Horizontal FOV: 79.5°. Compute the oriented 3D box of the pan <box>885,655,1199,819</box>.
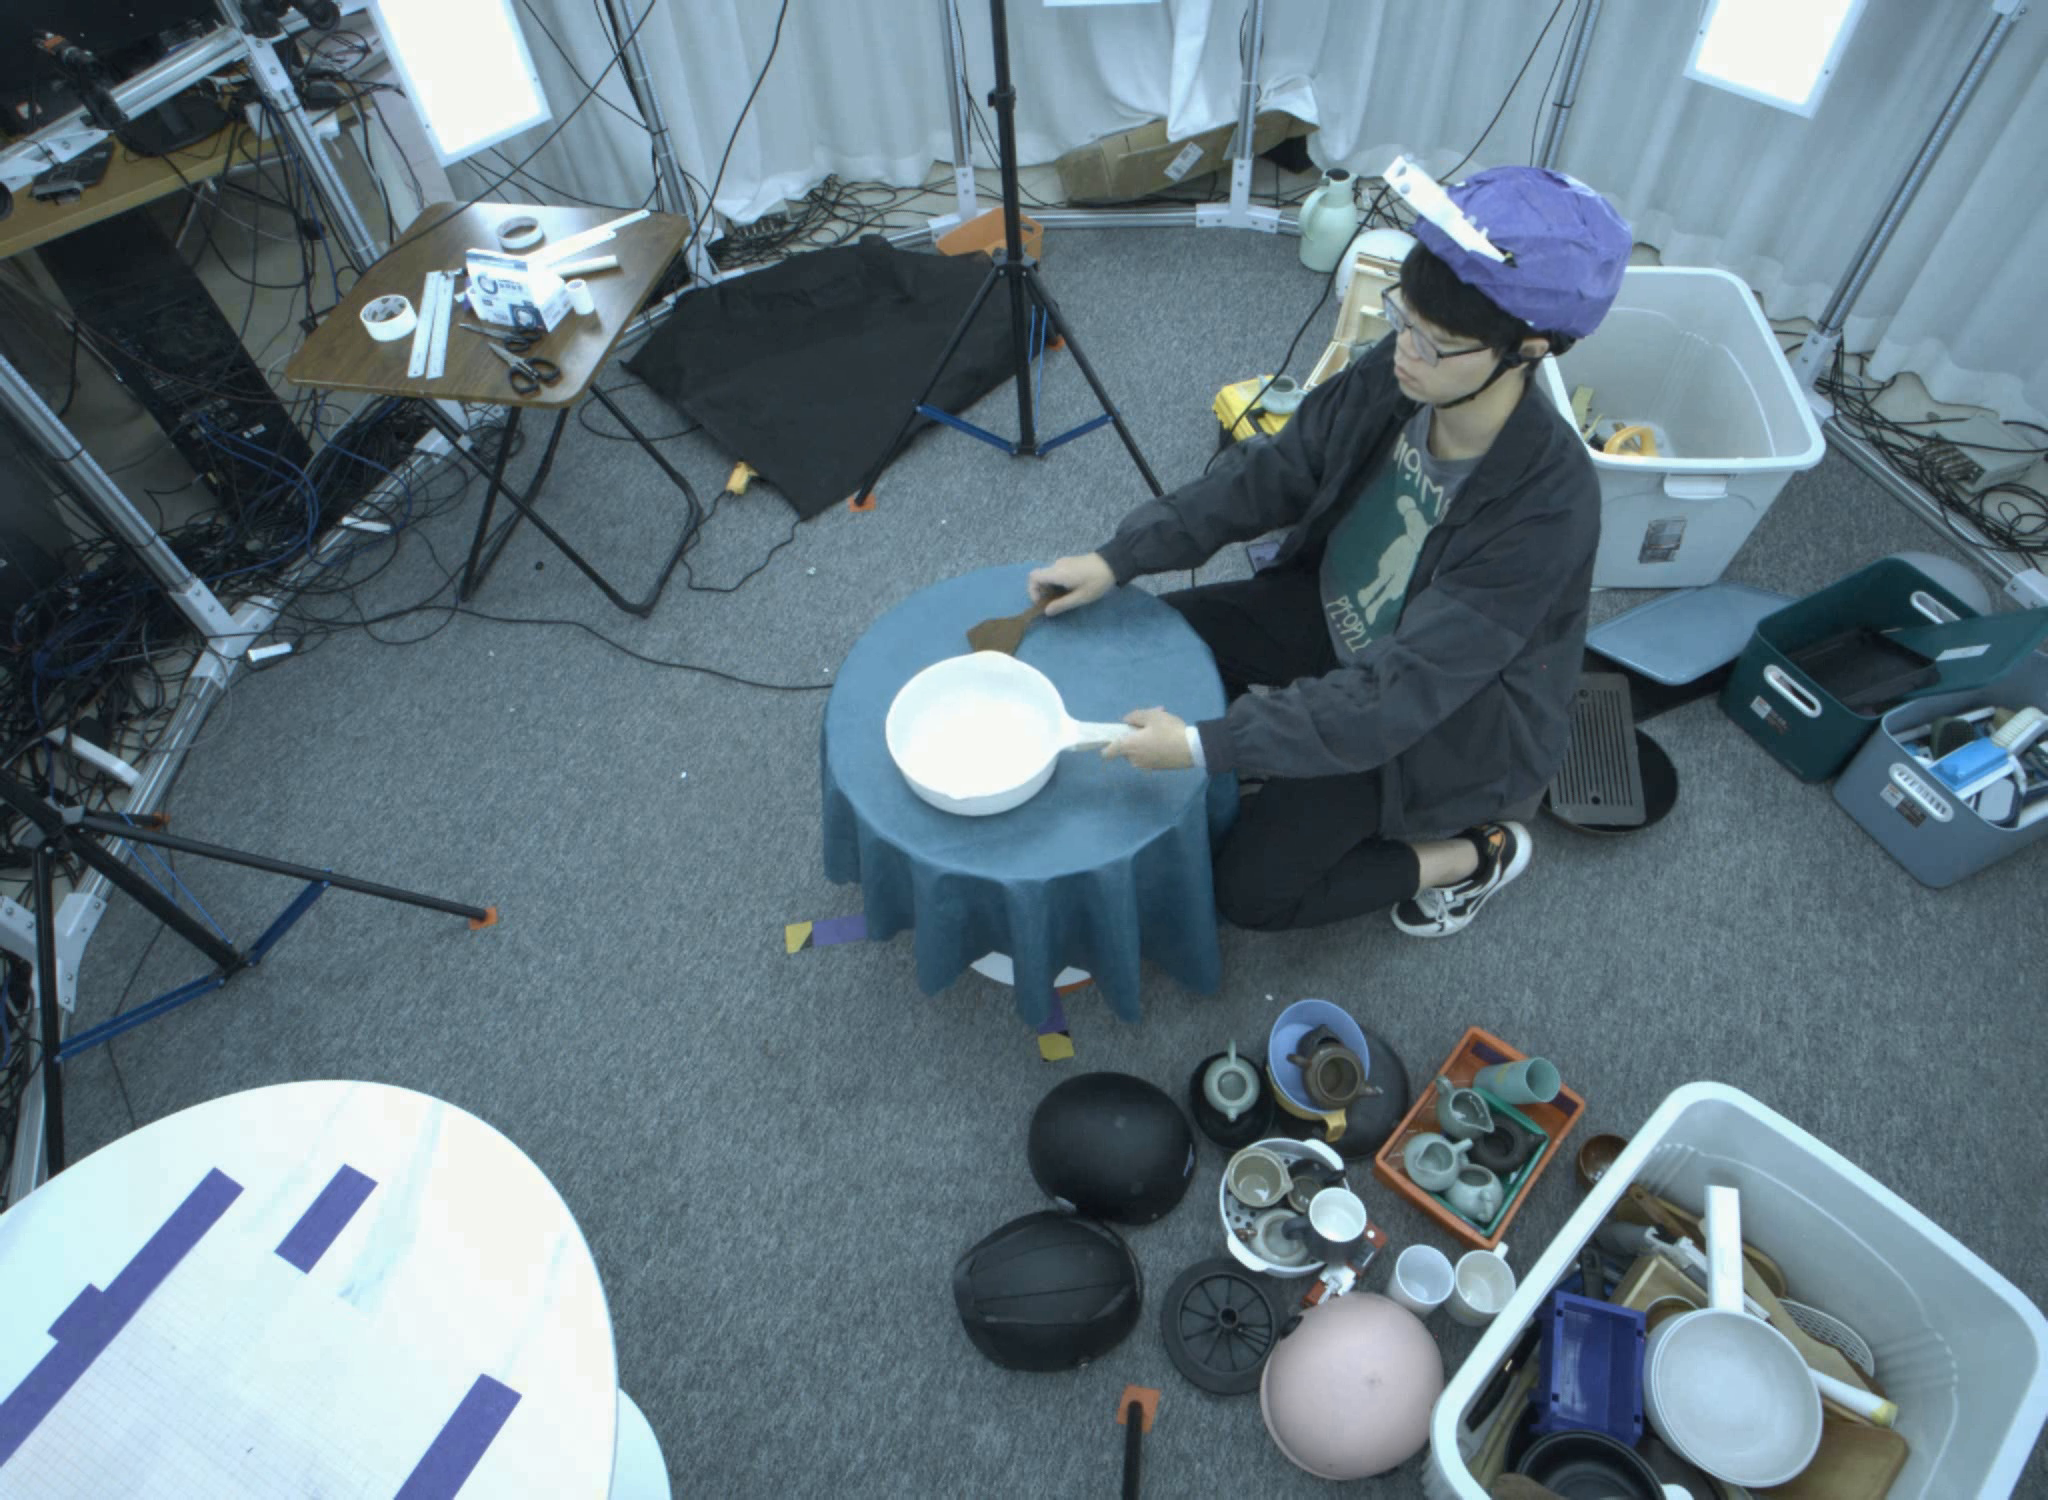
[{"bbox_3d":[0.024,-0.006,1.722,0.433,0.103,0.261,6,53,6],"label":"pan"}]

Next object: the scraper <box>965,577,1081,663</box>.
[{"bbox_3d":[0.004,-0.205,1.899,0.213,0.011,0.076,-37,91,-20],"label":"scraper"}]
